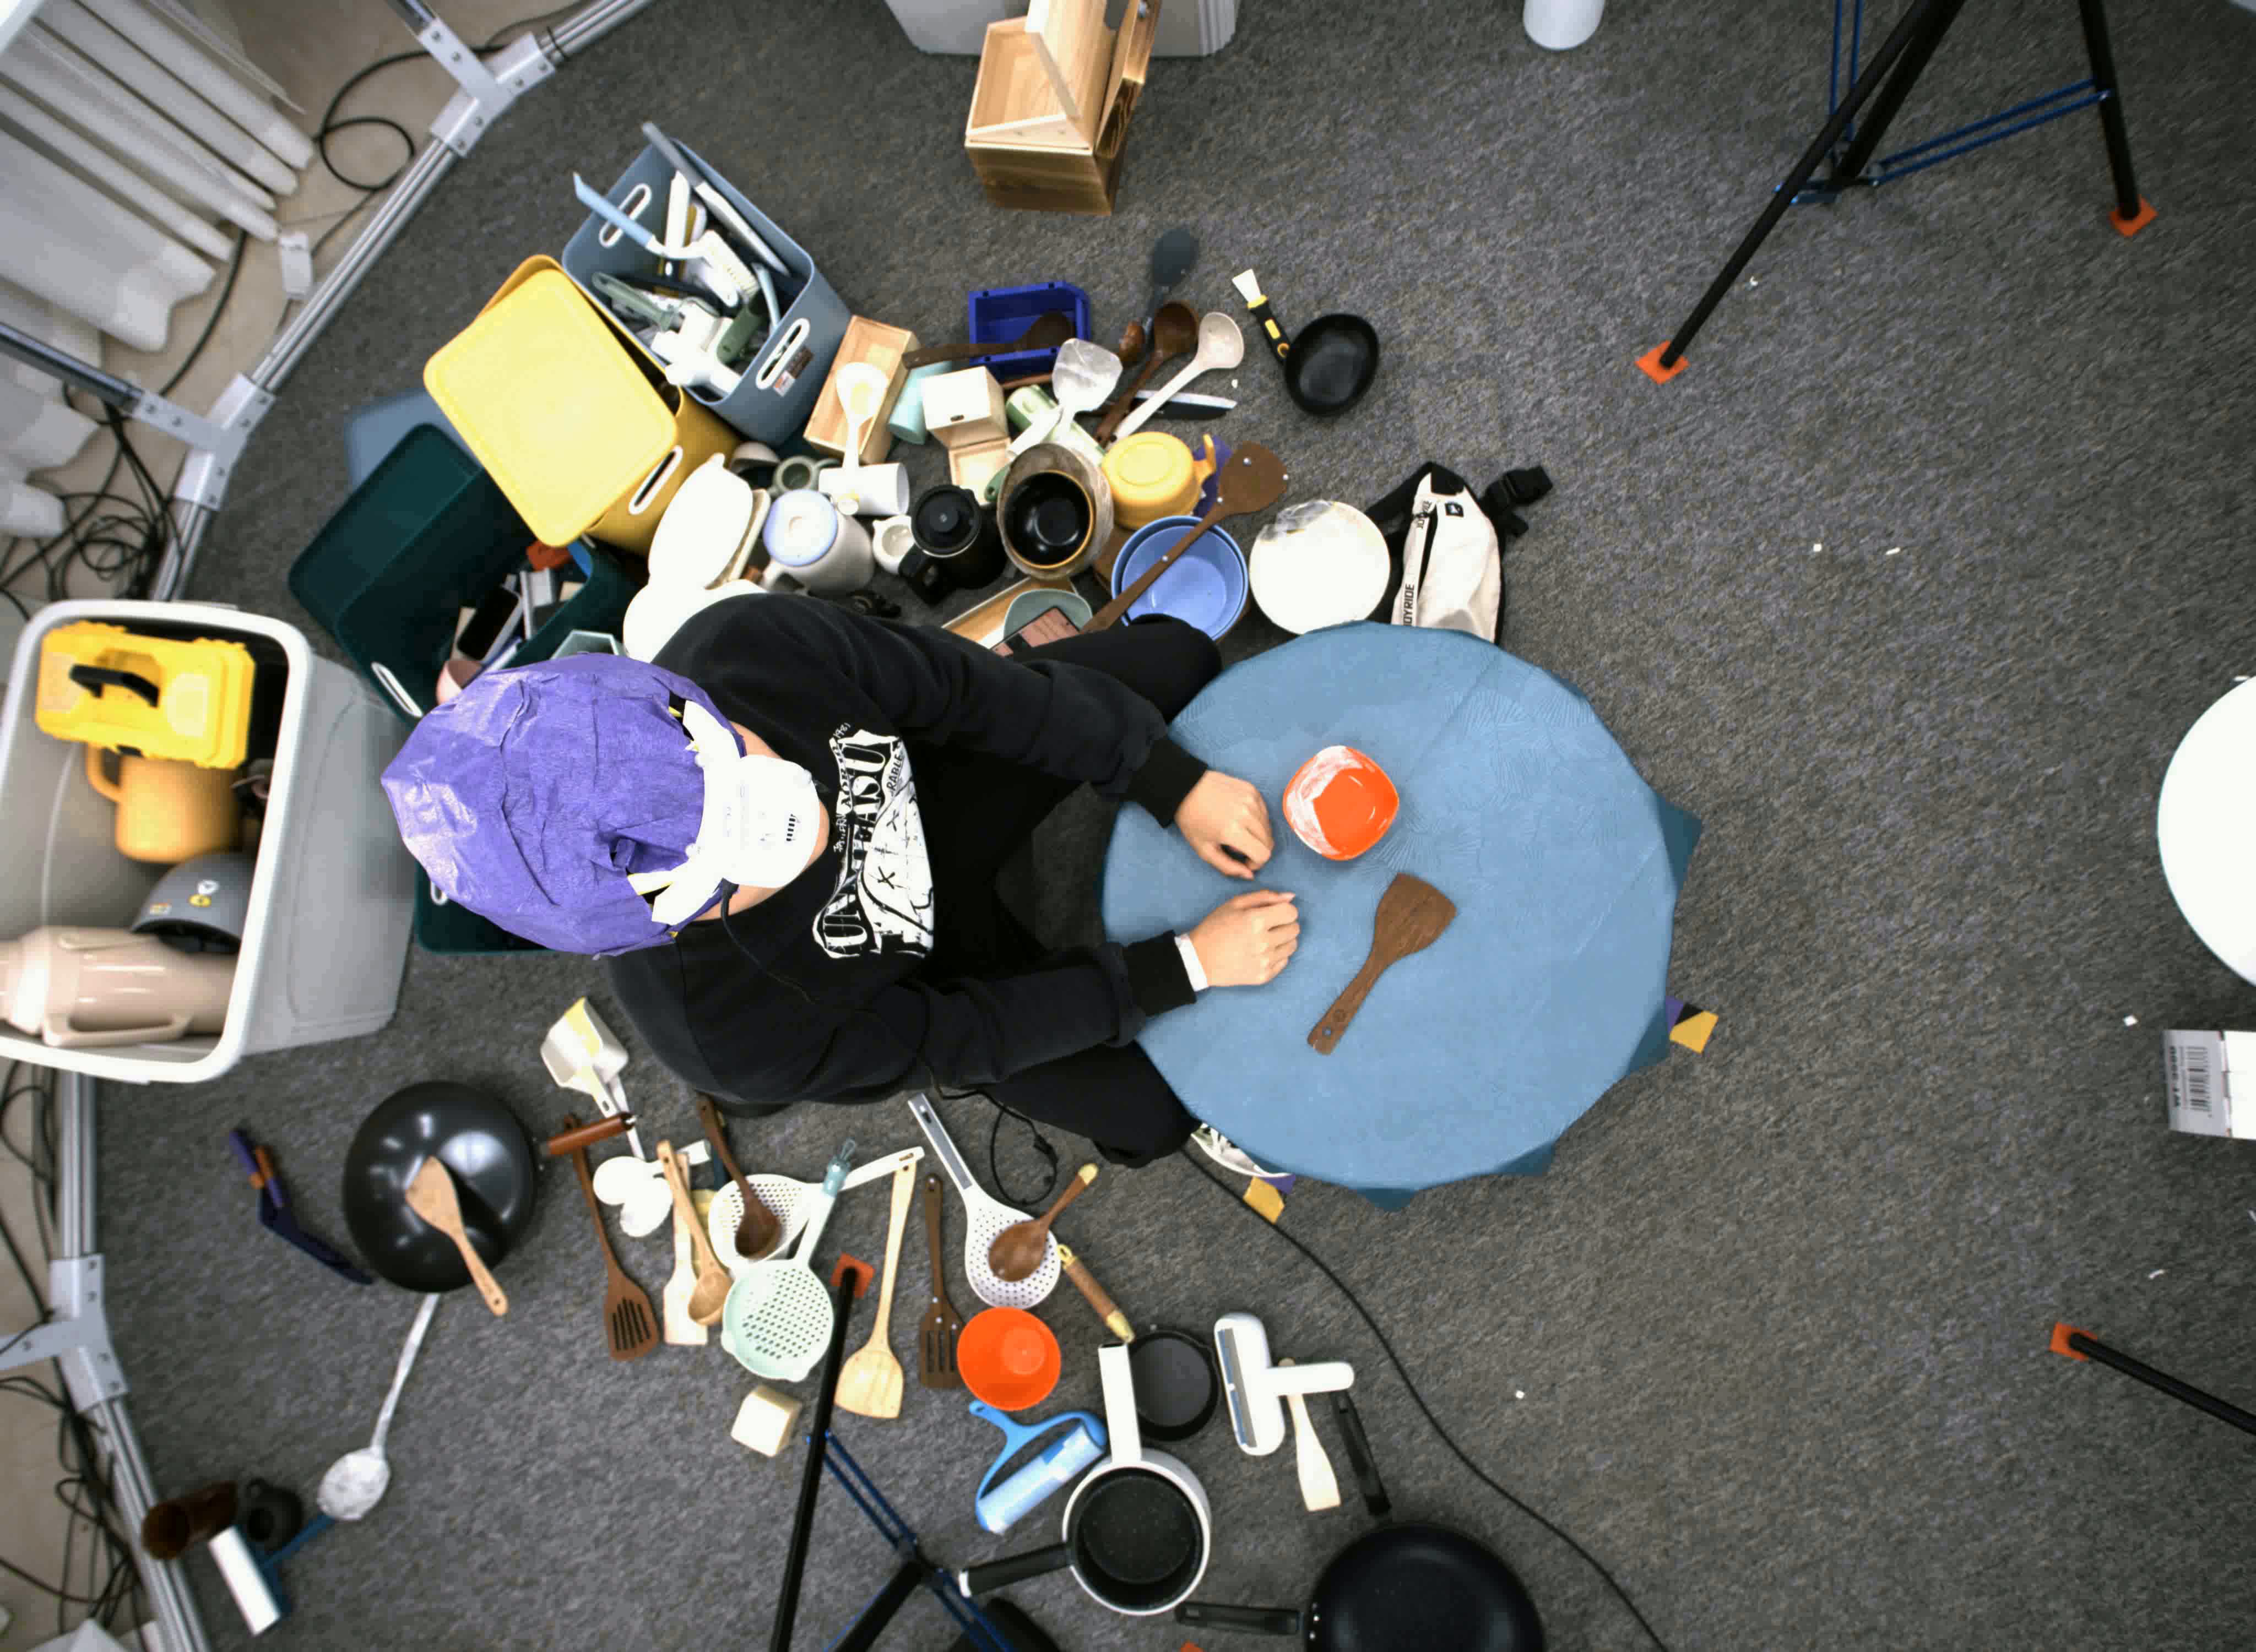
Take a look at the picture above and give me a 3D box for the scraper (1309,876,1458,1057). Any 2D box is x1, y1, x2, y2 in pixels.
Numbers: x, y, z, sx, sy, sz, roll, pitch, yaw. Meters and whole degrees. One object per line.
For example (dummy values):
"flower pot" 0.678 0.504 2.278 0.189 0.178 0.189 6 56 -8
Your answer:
"scraper" 0.260 0.152 1.457 0.075 0.011 0.212 36 94 11

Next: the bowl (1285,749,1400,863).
"bowl" 0.225 -0.019 1.454 0.119 0.051 0.118 -1 86 9
